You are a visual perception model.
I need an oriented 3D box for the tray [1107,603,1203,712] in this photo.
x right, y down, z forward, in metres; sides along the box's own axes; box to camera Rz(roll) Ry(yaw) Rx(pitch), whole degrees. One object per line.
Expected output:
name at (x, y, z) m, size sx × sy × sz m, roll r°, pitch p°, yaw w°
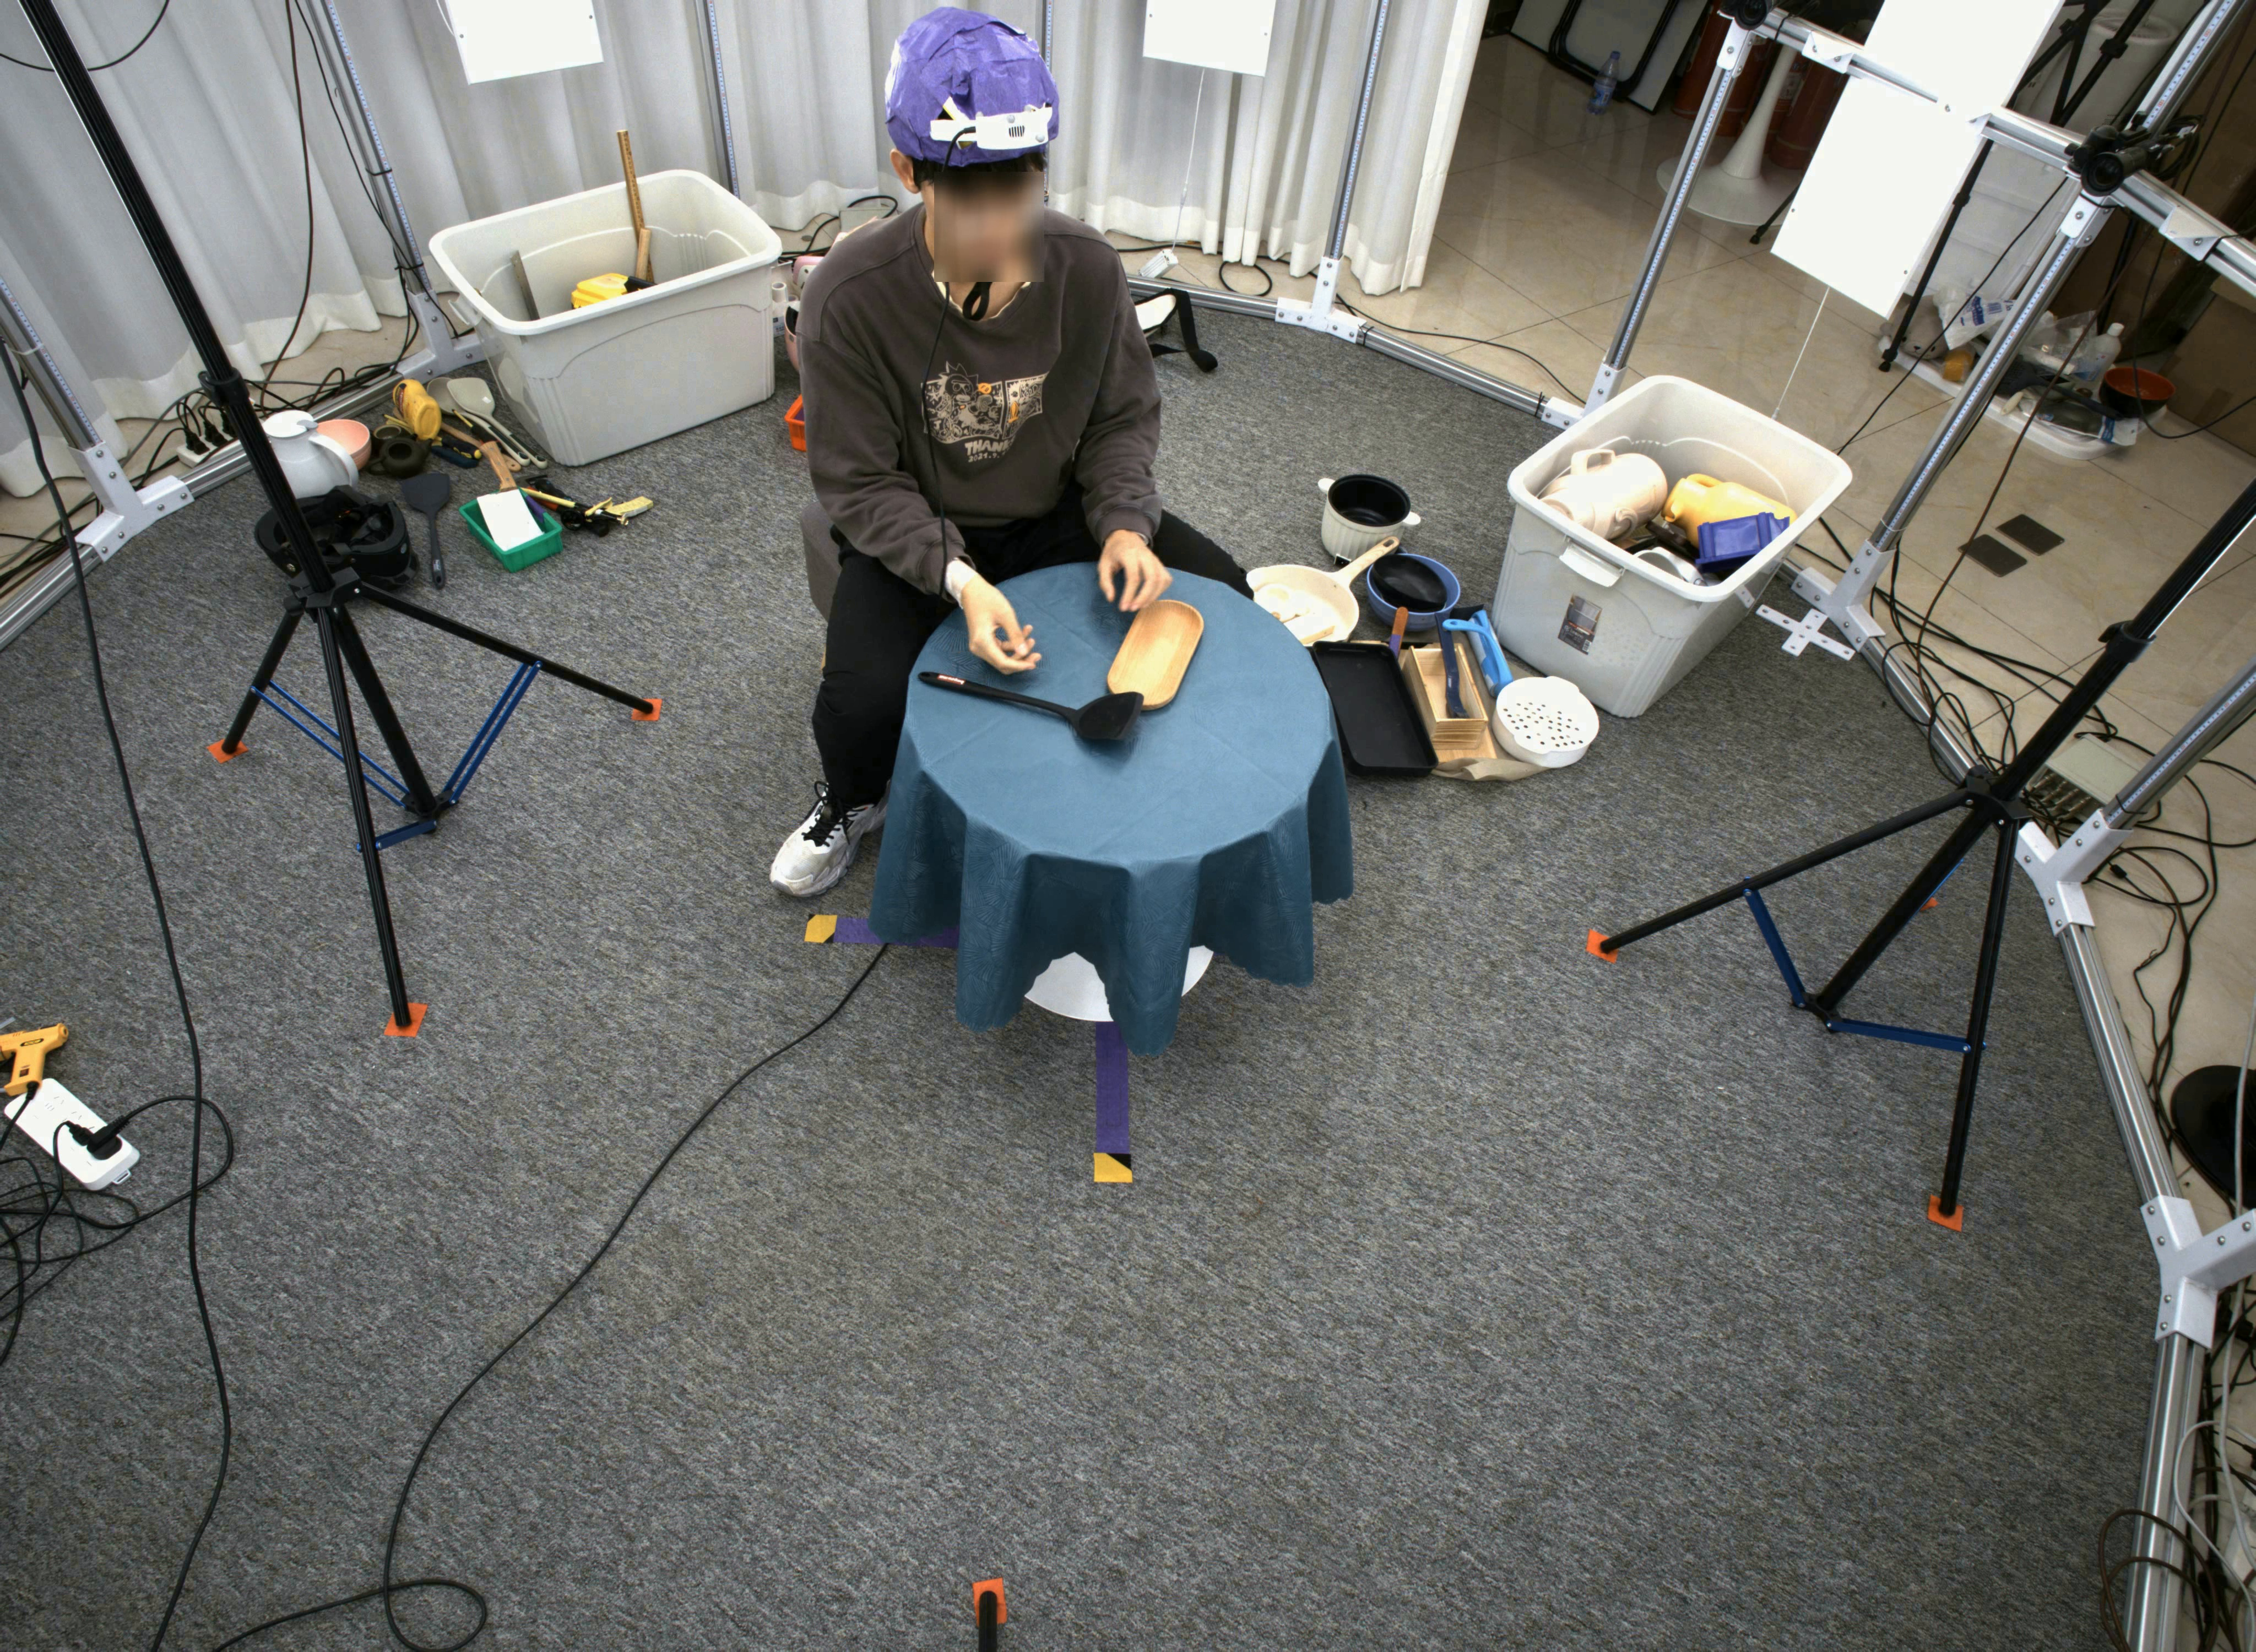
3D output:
tray at (0.041, -0.248, 1.874) m, size 0.102 × 0.020 × 0.236 m, roll 15°, pitch 51°, yaw 10°

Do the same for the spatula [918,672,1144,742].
spatula at (-0.141, -0.179, 1.789) m, size 0.327 × 0.039 × 0.102 m, roll 16°, pitch 48°, yaw 10°
